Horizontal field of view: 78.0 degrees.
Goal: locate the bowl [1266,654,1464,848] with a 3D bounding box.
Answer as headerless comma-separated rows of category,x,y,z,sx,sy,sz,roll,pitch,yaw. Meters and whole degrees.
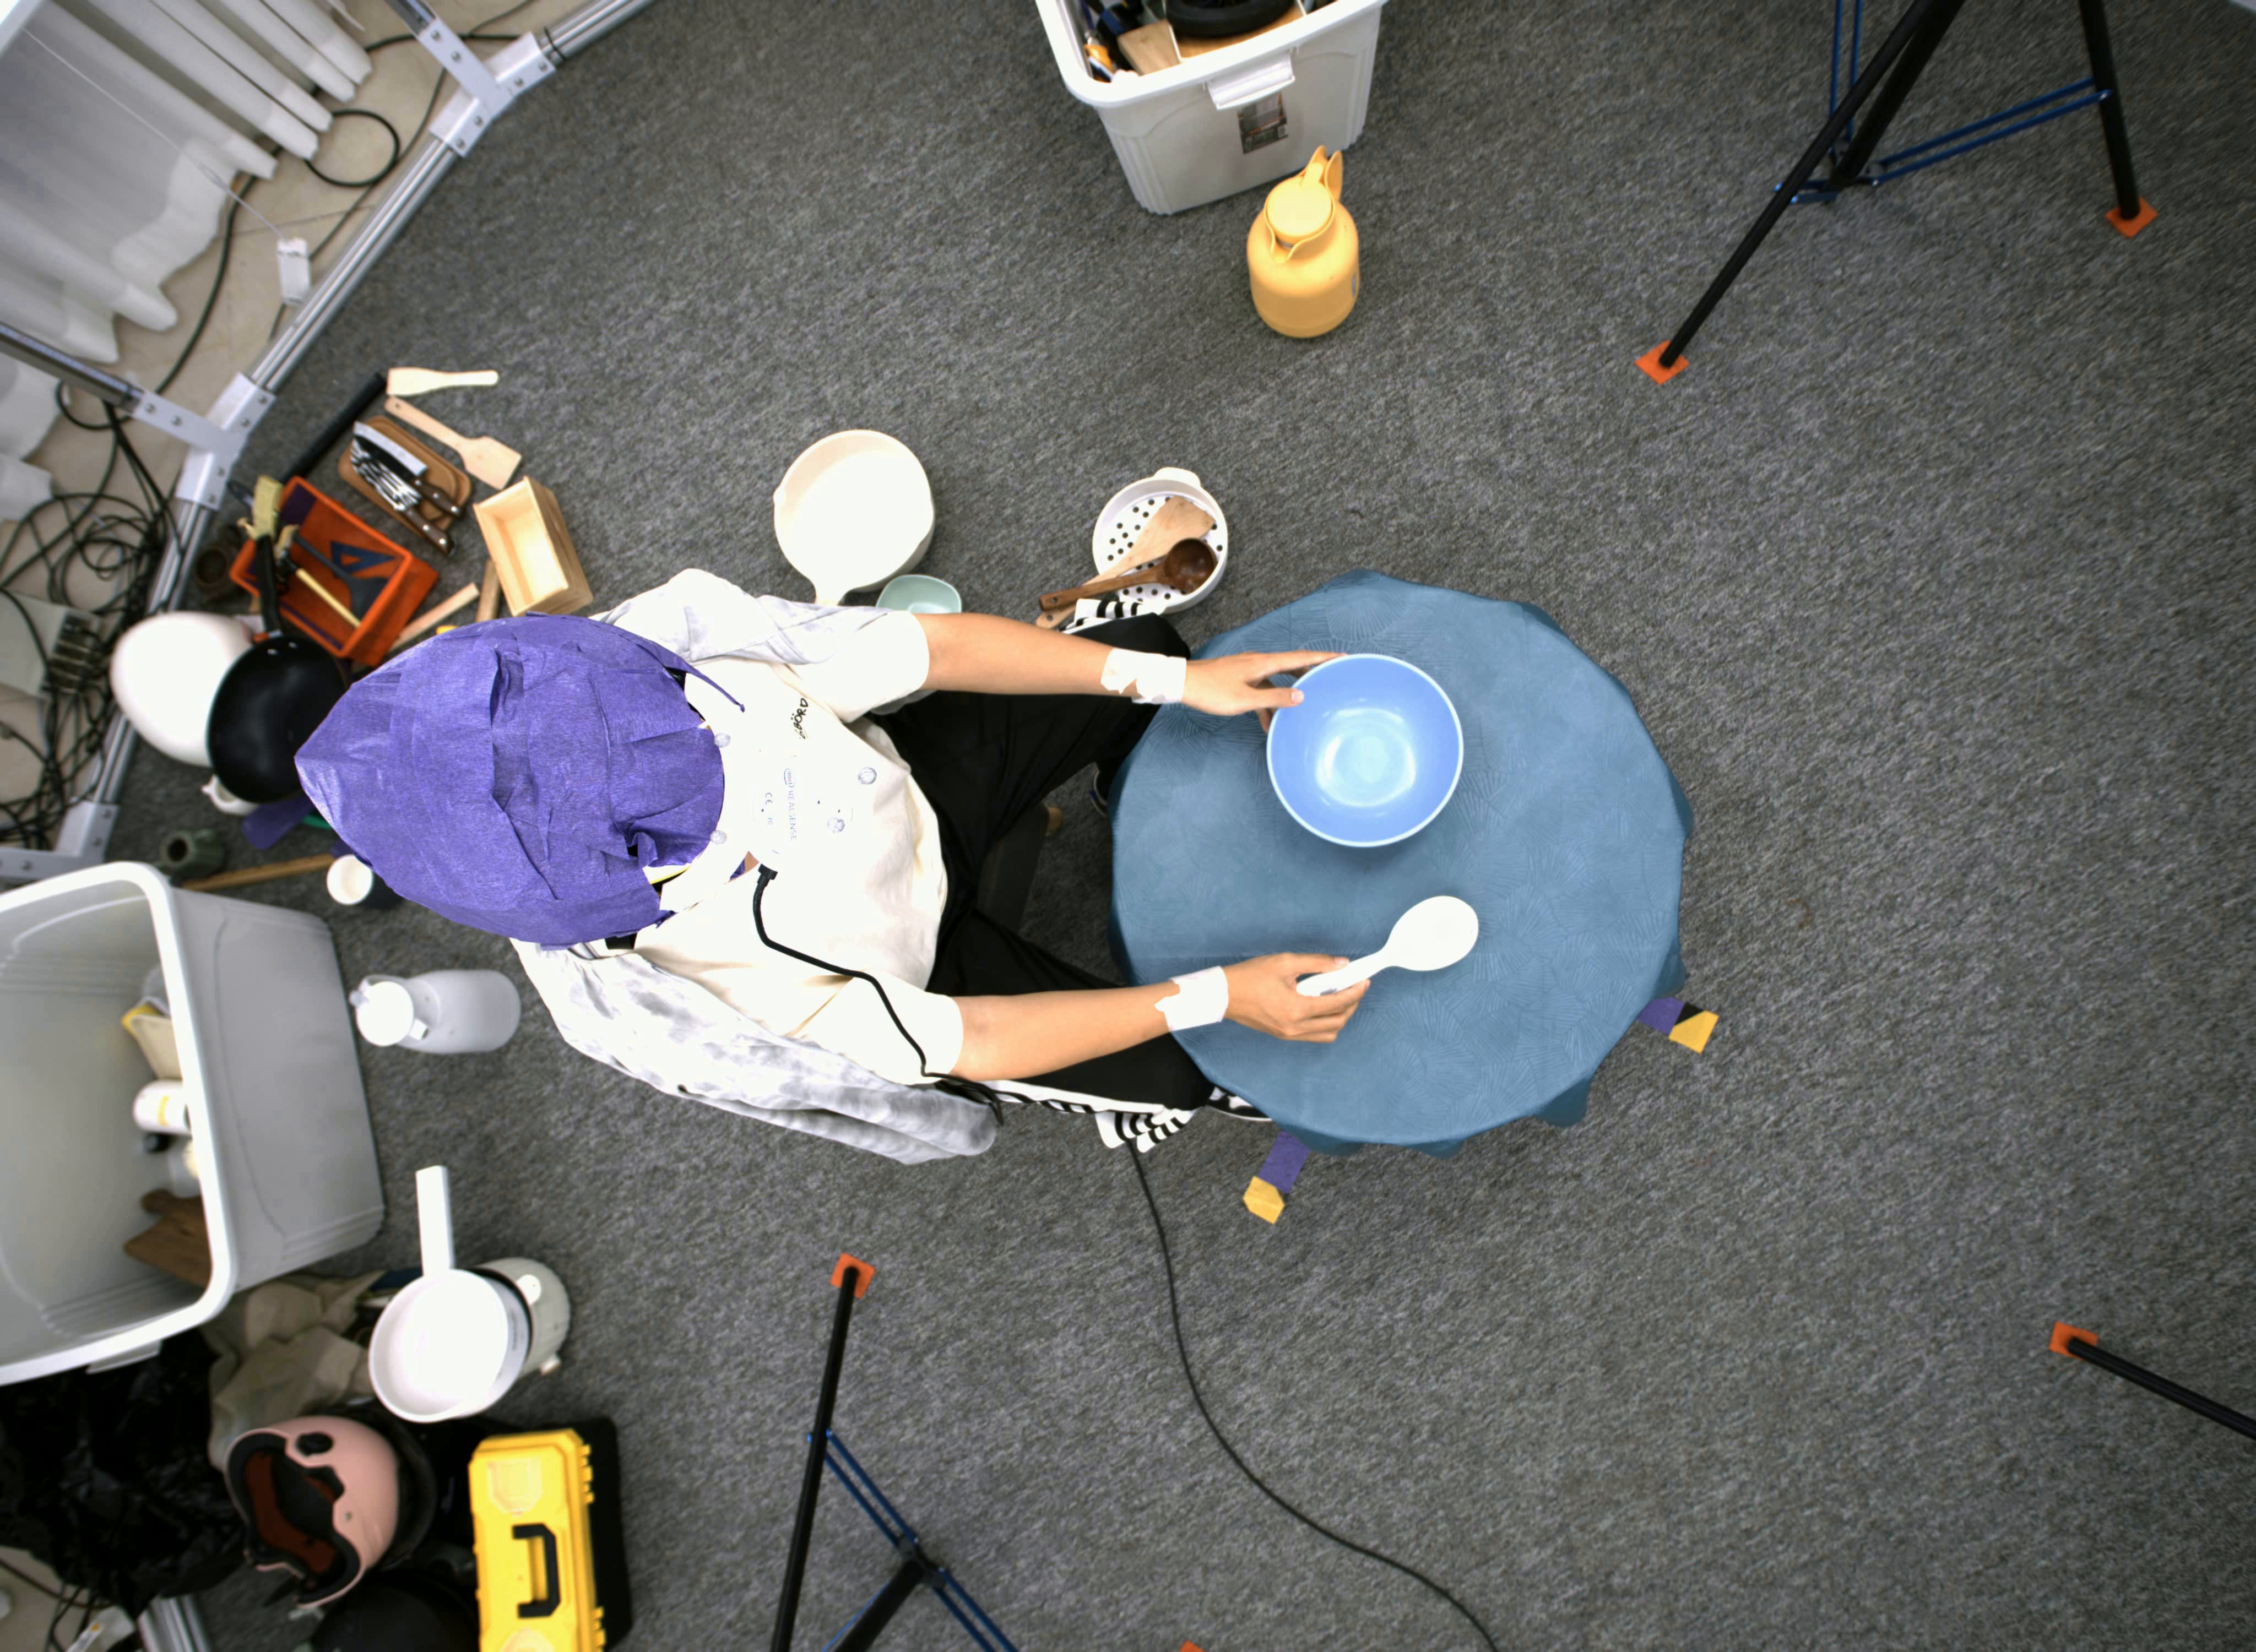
bowl,0.243,-0.073,1.422,0.197,0.095,0.196,-1,87,9

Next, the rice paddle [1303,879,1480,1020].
rice paddle,0.270,0.125,1.407,0.206,0.029,0.068,-36,74,5
